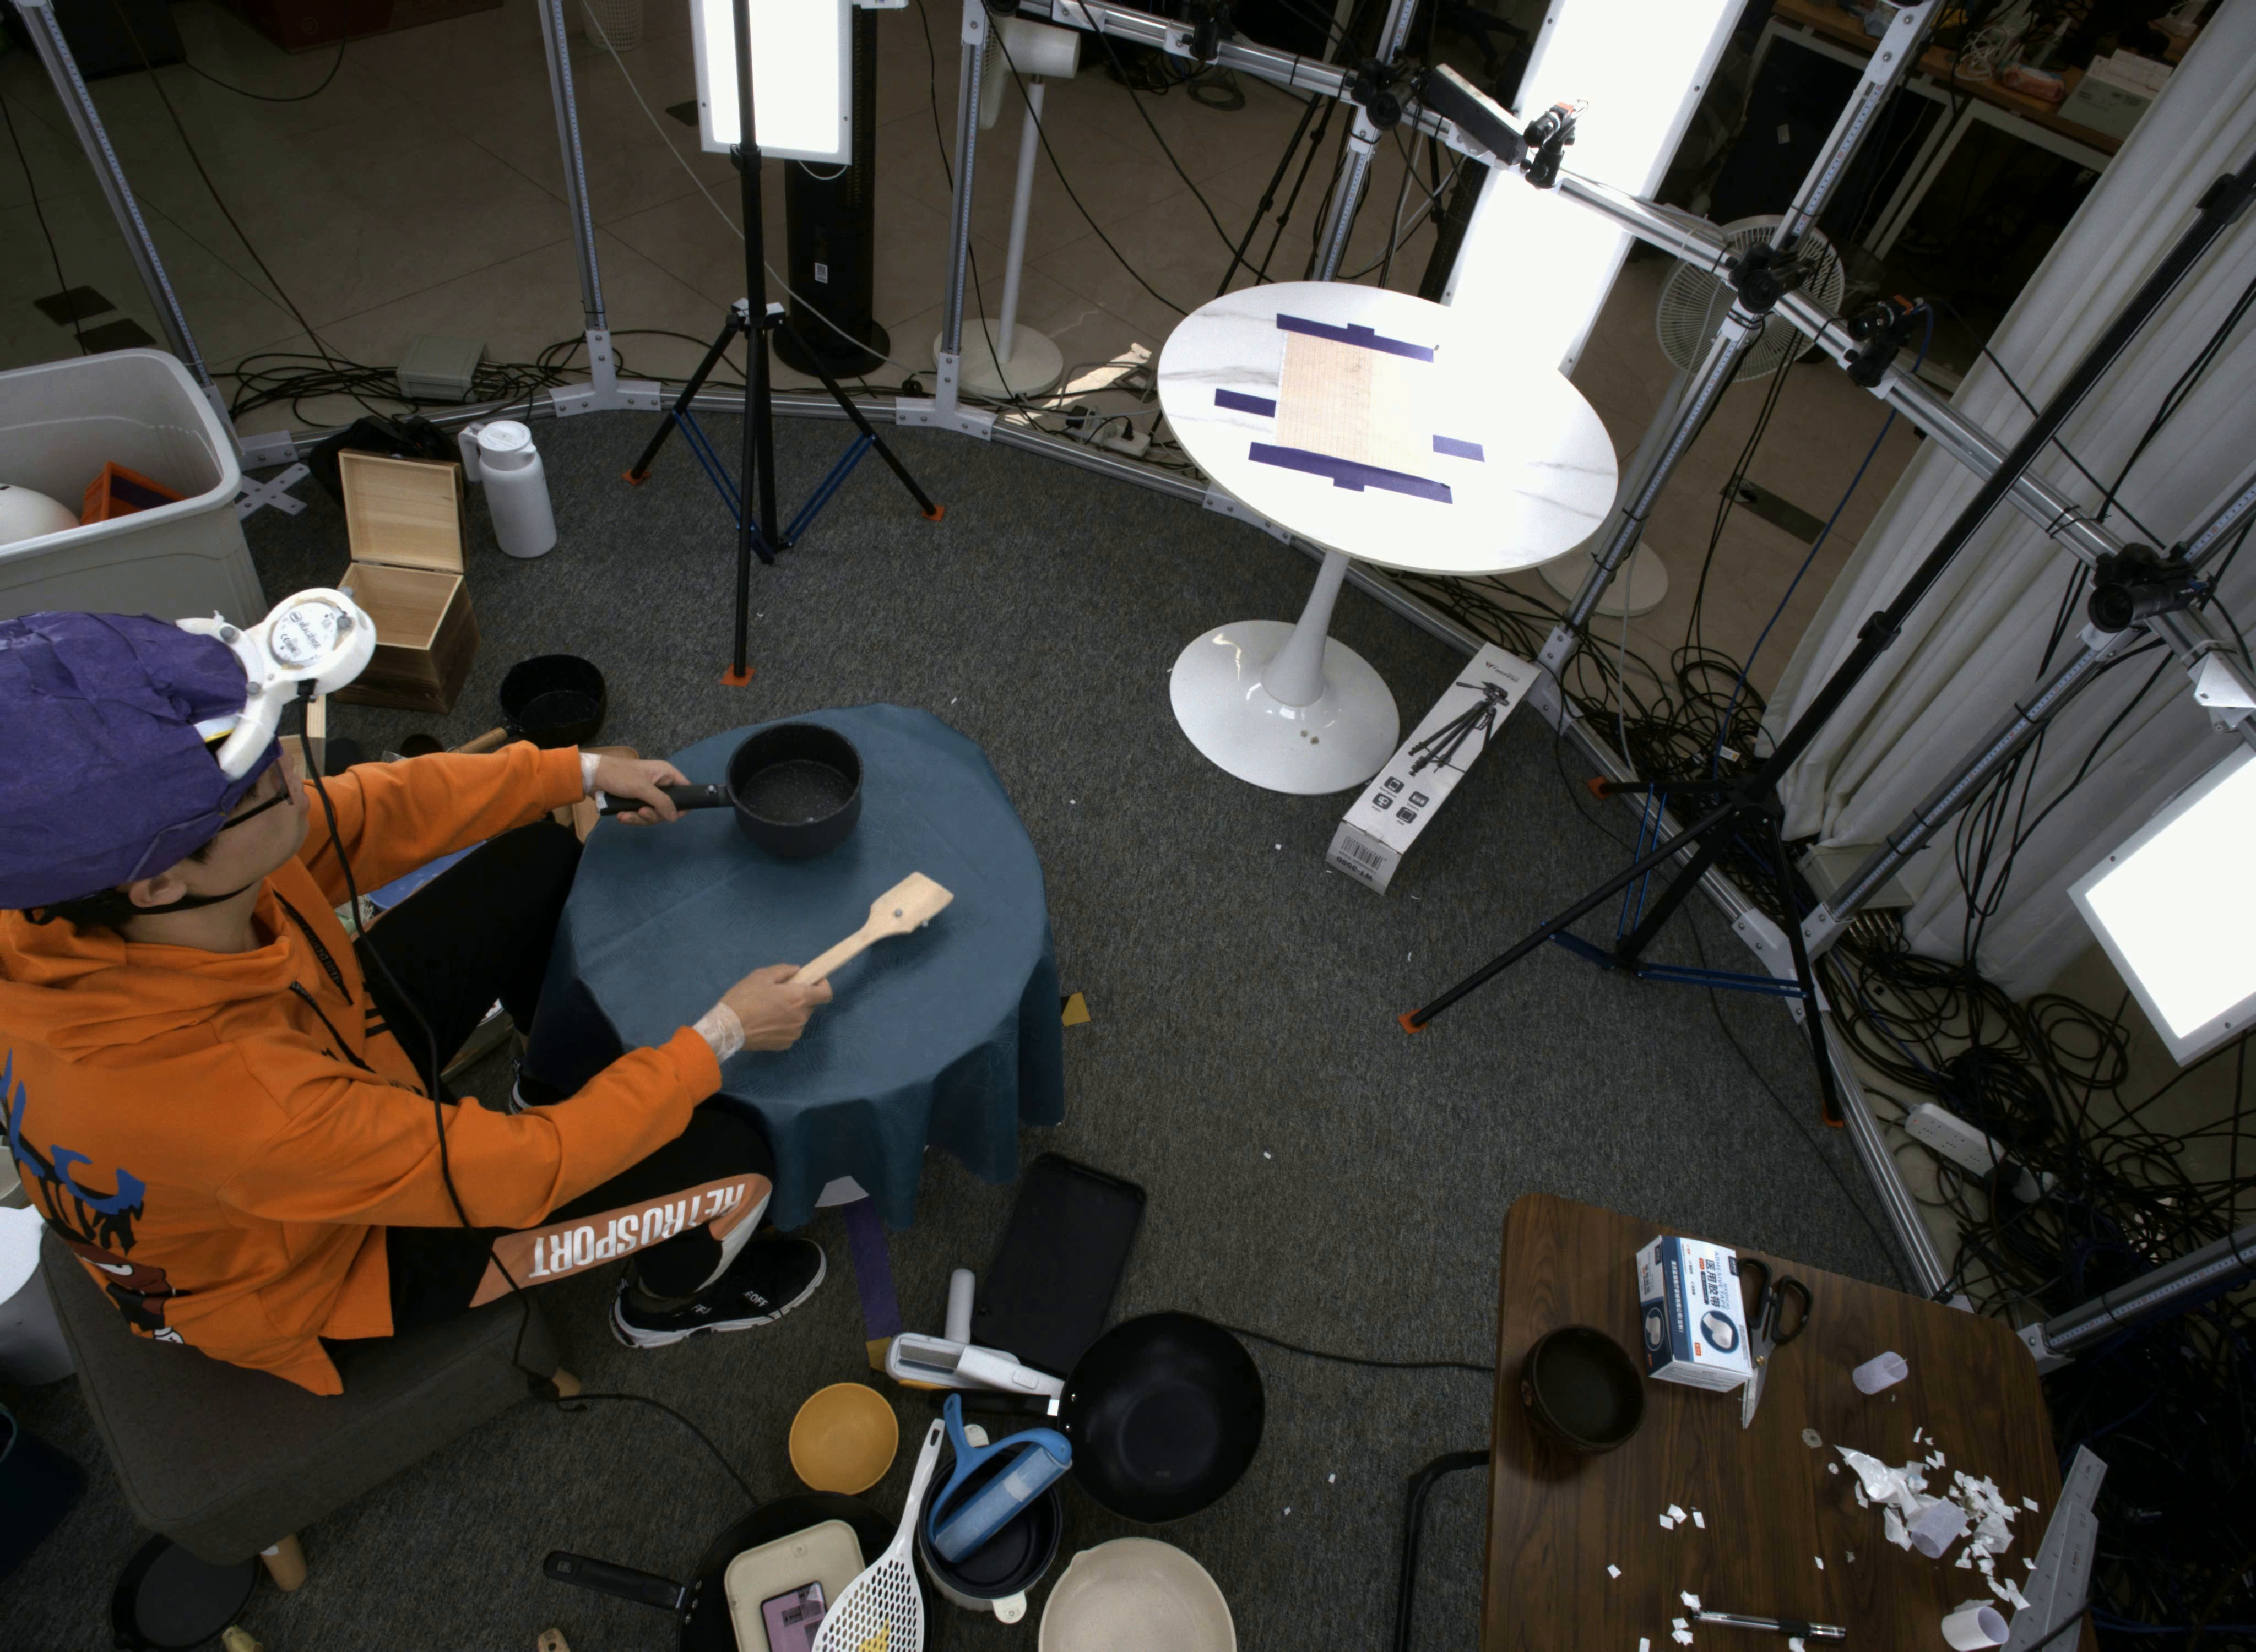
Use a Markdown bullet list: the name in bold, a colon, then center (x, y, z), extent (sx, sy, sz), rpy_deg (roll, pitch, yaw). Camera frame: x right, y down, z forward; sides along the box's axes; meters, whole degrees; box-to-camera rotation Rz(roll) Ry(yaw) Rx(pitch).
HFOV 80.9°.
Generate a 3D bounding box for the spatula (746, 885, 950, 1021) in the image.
- **spatula**: center (-0.337, 0.153, 1.560), extent (0.070, 0.011, 0.294), rpy_deg (39, 44, 18)

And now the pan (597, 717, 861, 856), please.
- **pan**: center (-0.502, -0.040, 1.631), extent (0.330, 0.088, 0.168), rpy_deg (-7, 55, -19)
